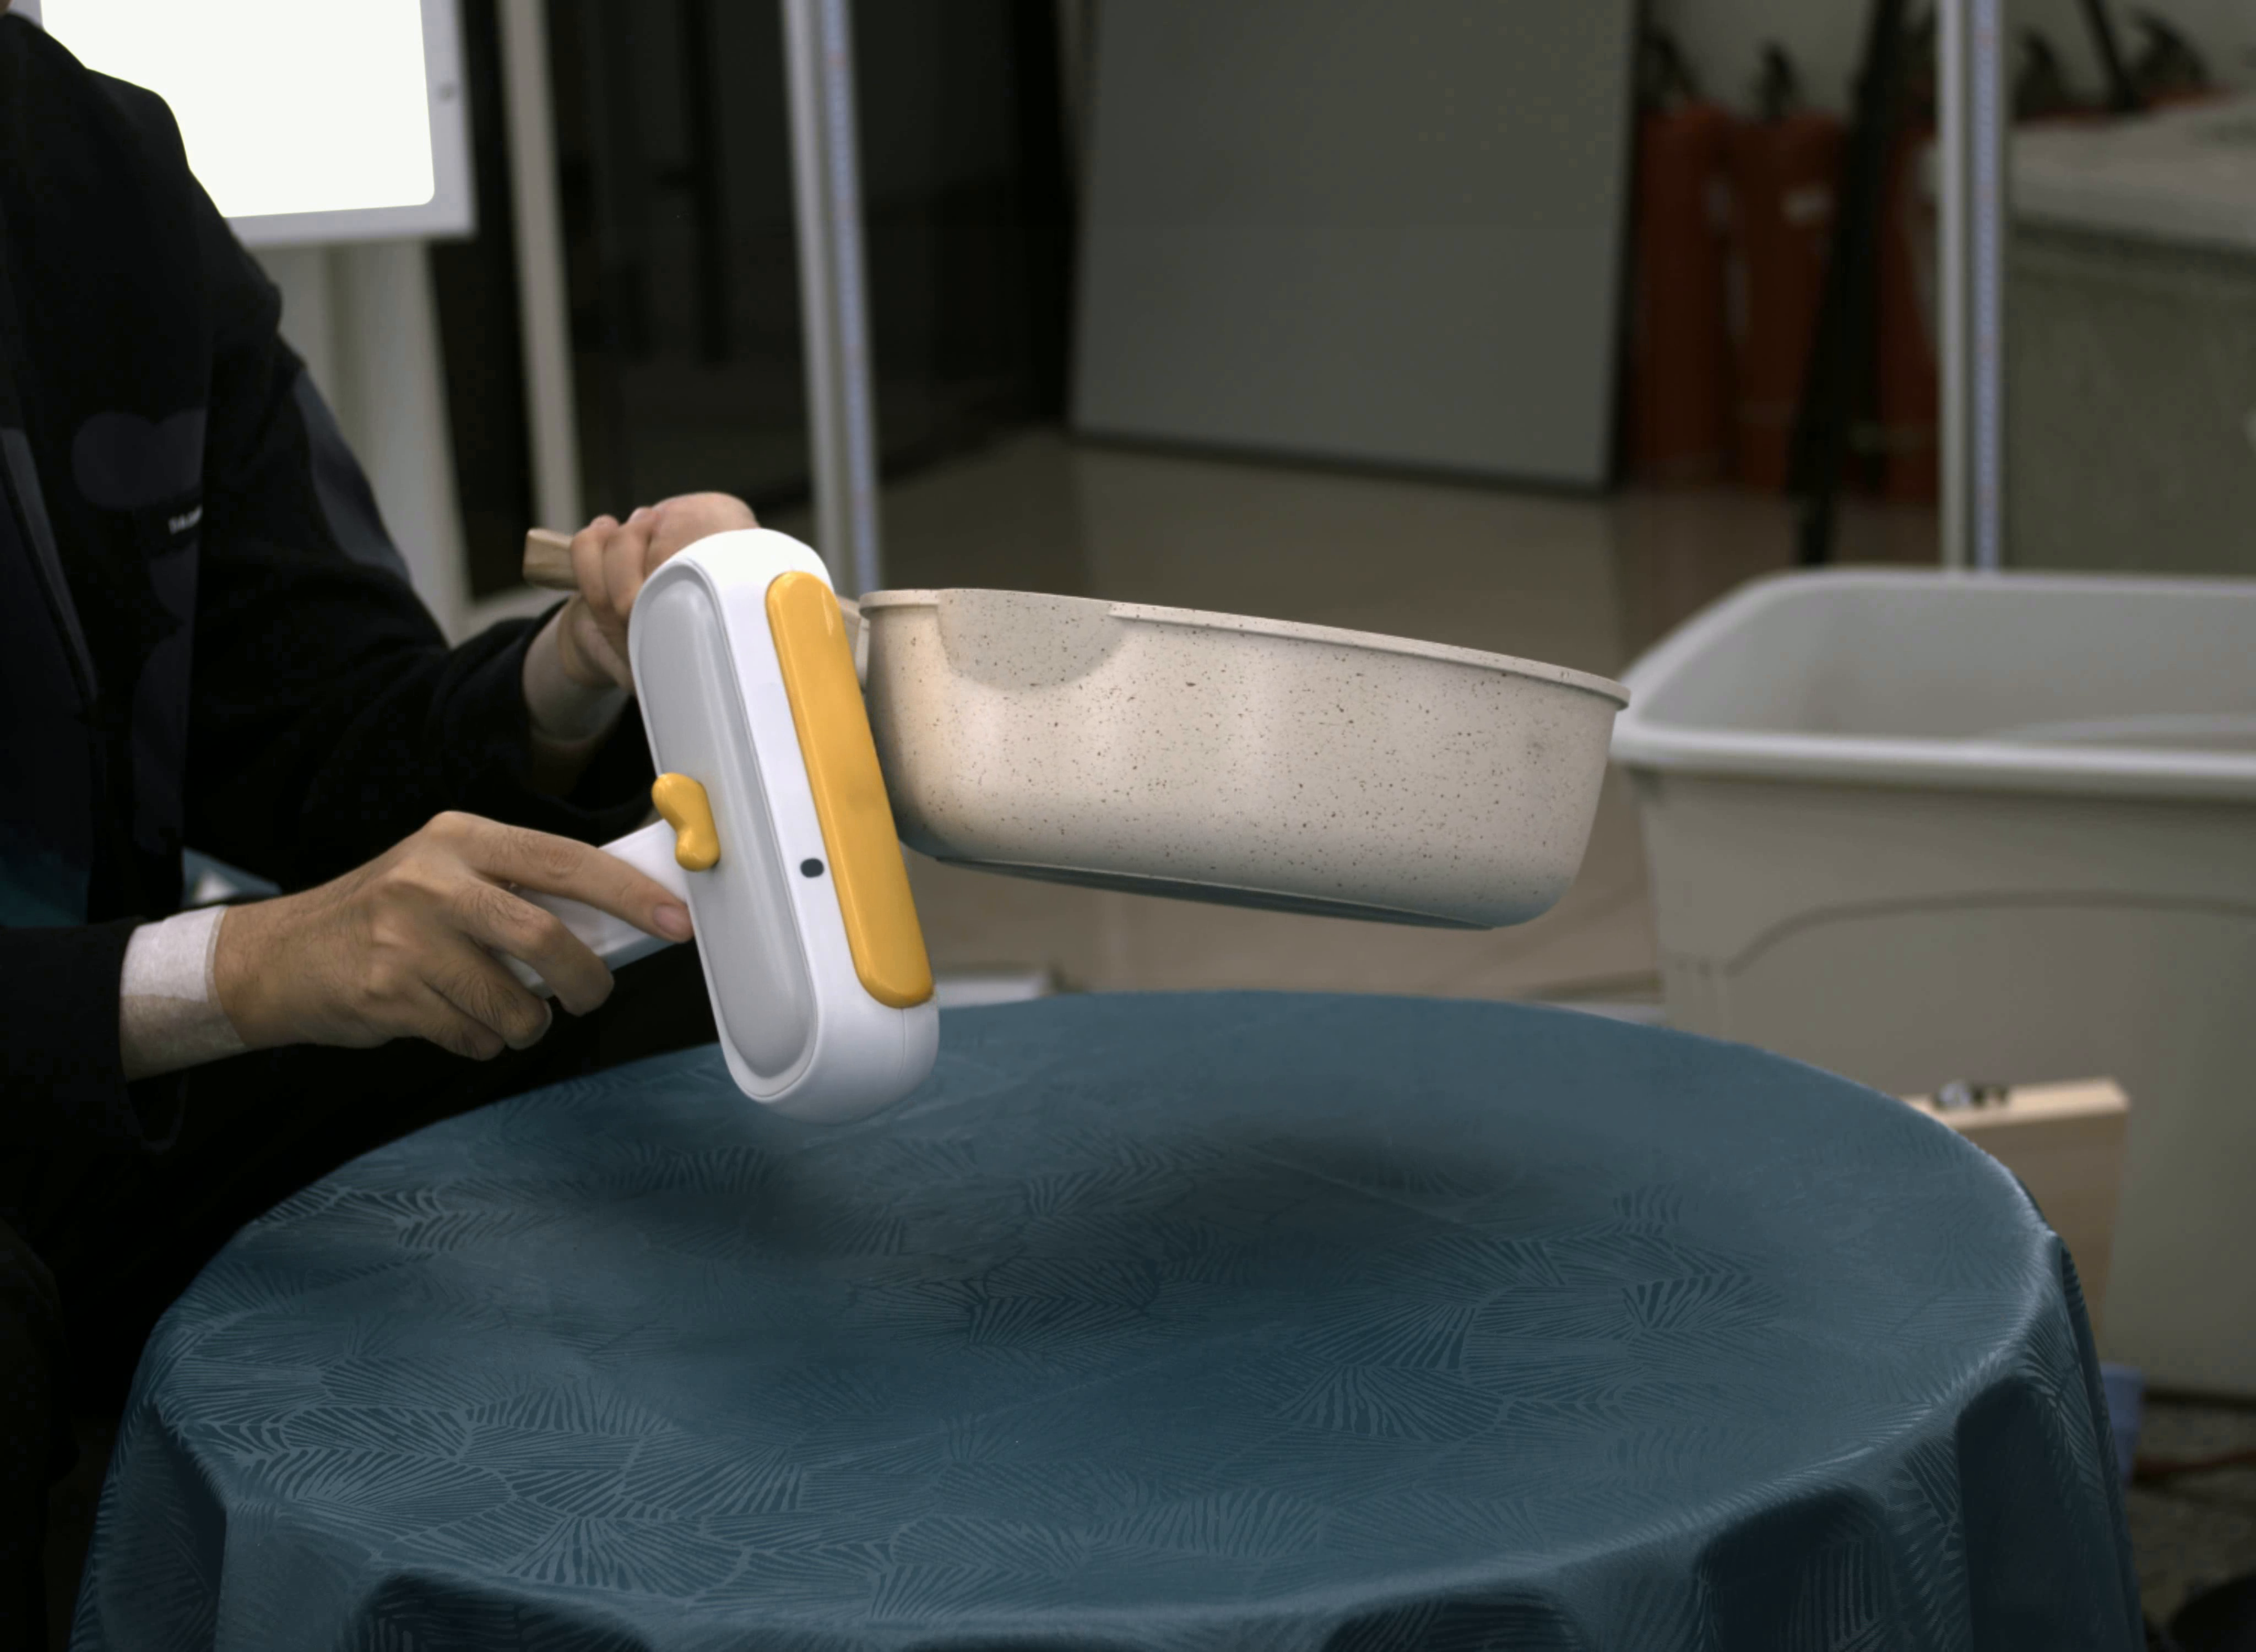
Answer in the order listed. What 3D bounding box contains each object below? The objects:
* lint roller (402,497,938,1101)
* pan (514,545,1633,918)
[{"bbox_3d":[-0.153,0.017,1.712,0.072,0.195,0.194,-2,-25,-48],"label":"lint roller"},{"bbox_3d":[-0.039,-0.033,1.784,0.438,0.103,0.258,5,-1,36],"label":"pan"}]
